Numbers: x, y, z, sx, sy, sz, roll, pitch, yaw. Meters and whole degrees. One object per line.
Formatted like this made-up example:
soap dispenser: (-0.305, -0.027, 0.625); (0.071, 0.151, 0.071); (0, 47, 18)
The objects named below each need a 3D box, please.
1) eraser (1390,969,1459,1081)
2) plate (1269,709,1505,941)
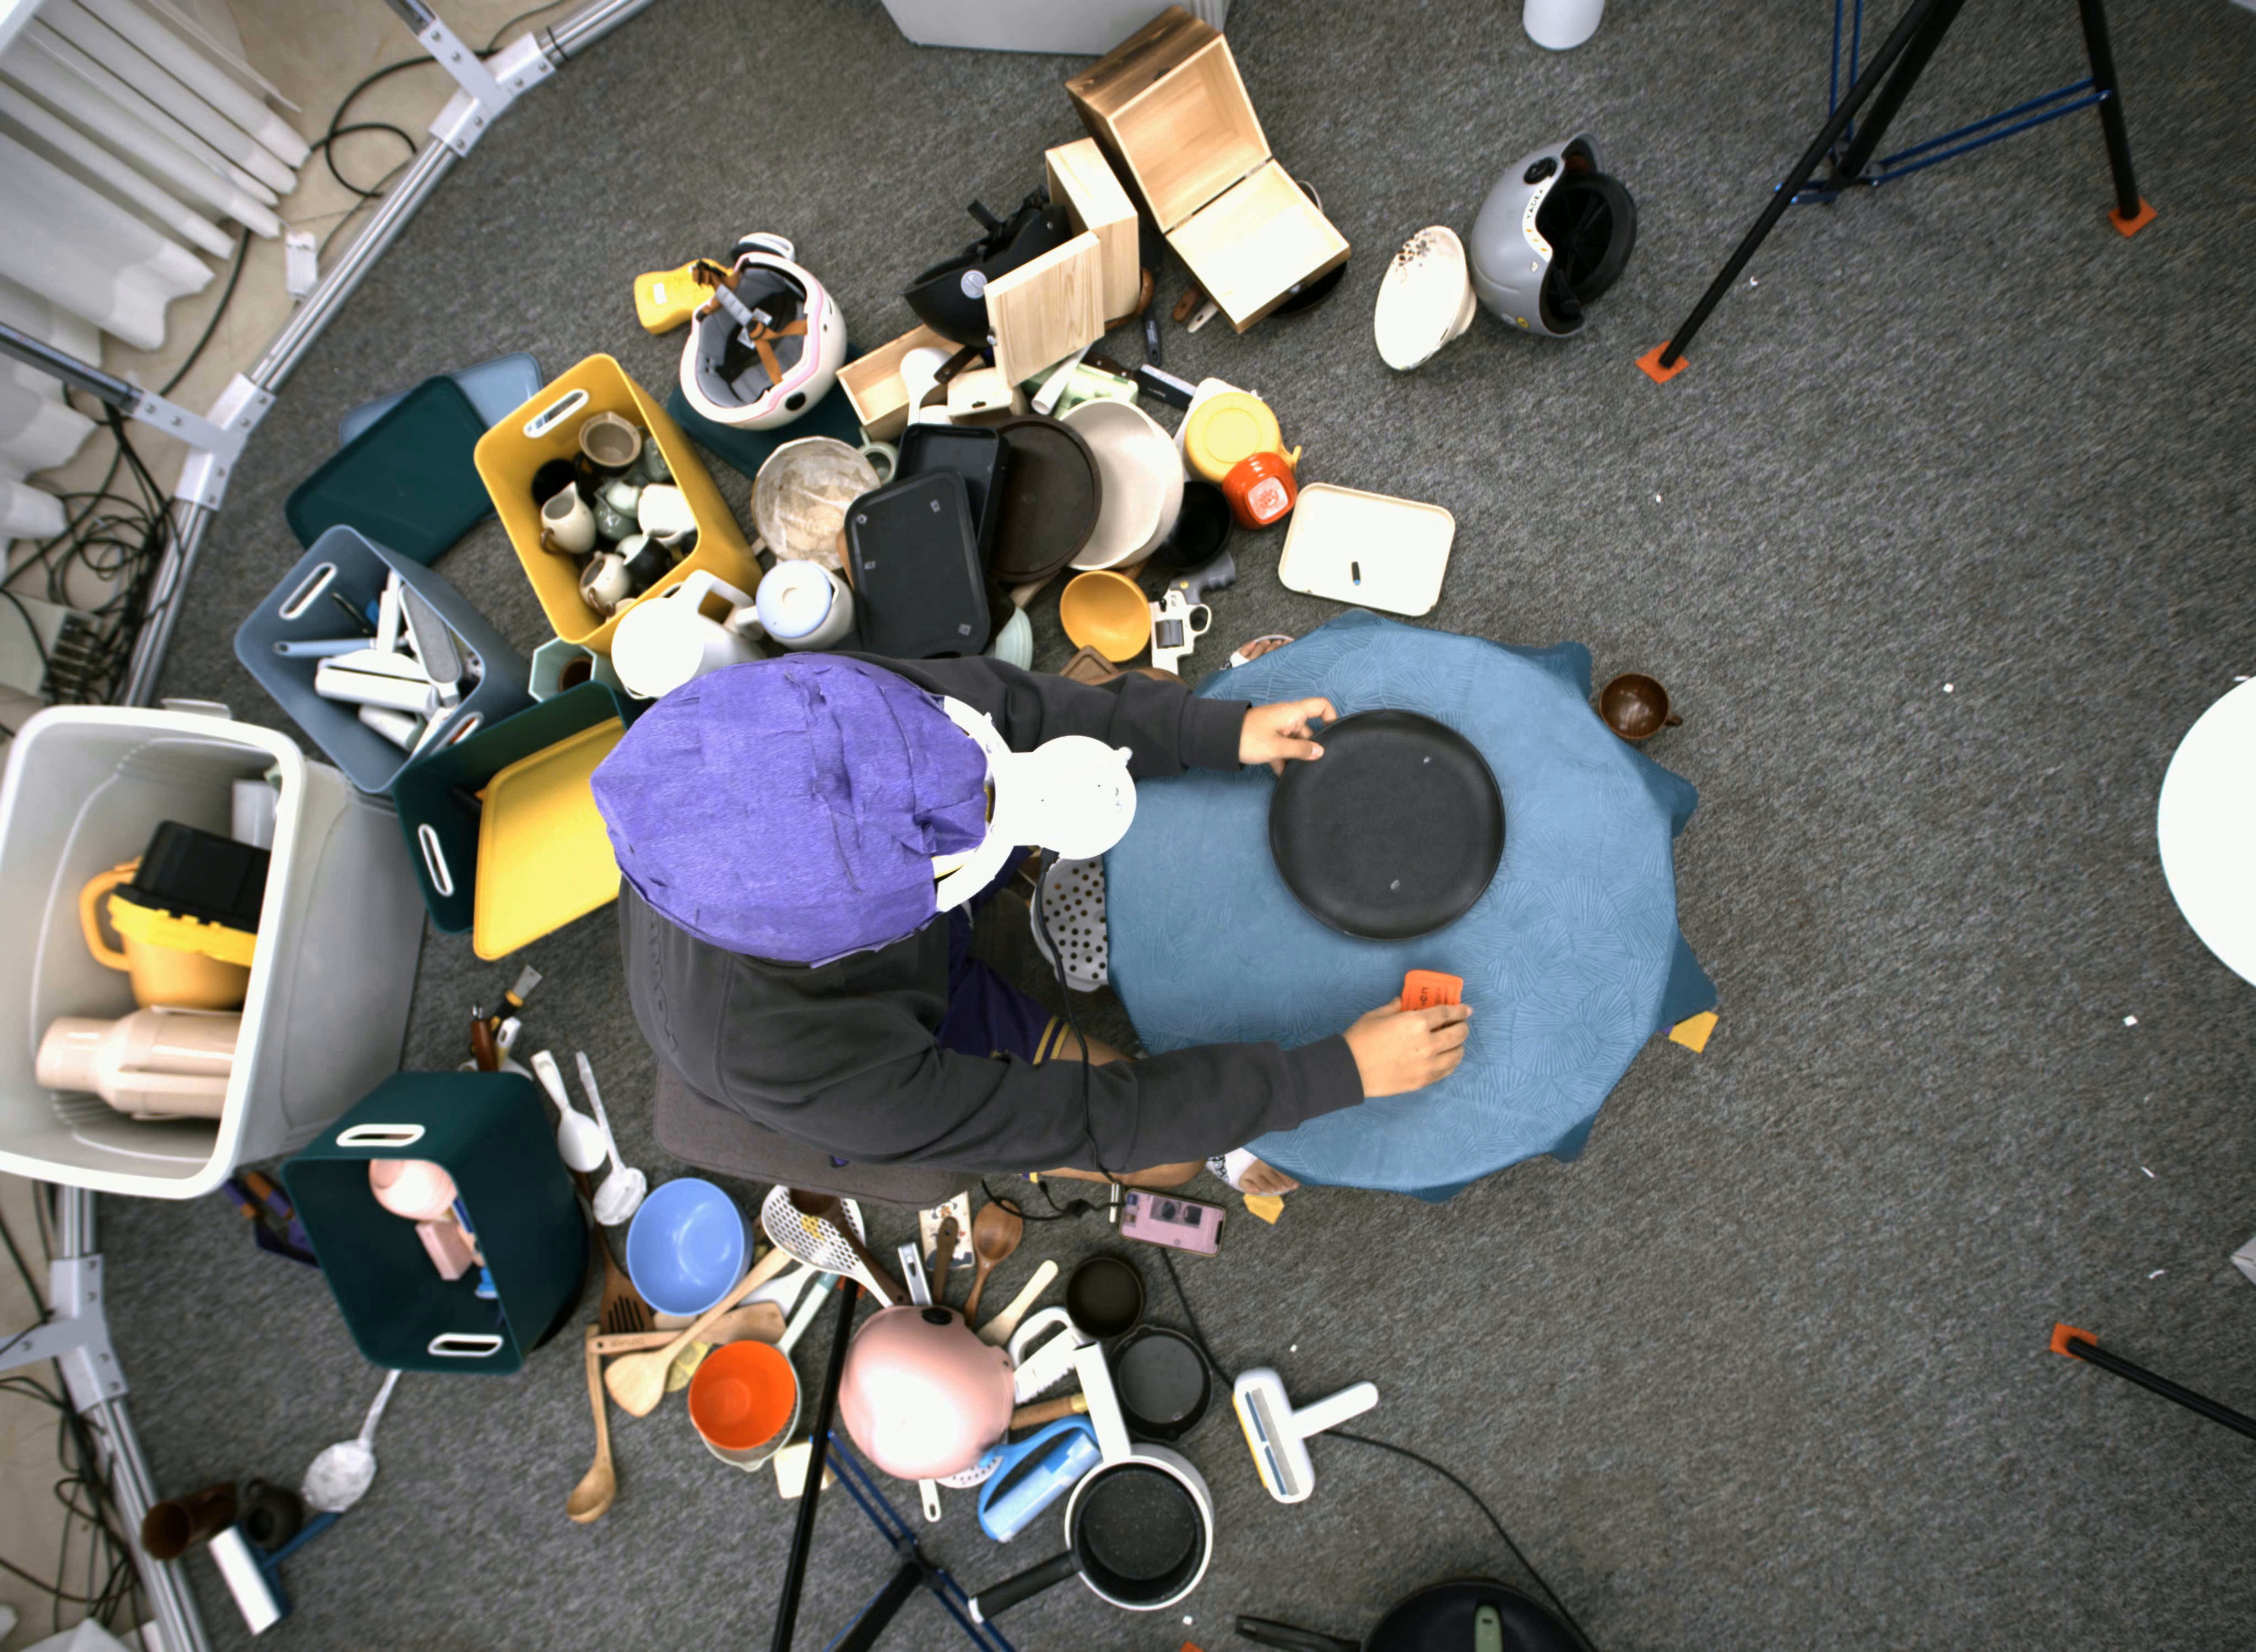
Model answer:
eraser: (0.303, 0.202, 1.414); (0.059, 0.023, 0.108); (9, 97, 10)
plate: (0.269, -0.003, 1.443); (0.245, 0.023, 0.244); (0, 93, 10)
